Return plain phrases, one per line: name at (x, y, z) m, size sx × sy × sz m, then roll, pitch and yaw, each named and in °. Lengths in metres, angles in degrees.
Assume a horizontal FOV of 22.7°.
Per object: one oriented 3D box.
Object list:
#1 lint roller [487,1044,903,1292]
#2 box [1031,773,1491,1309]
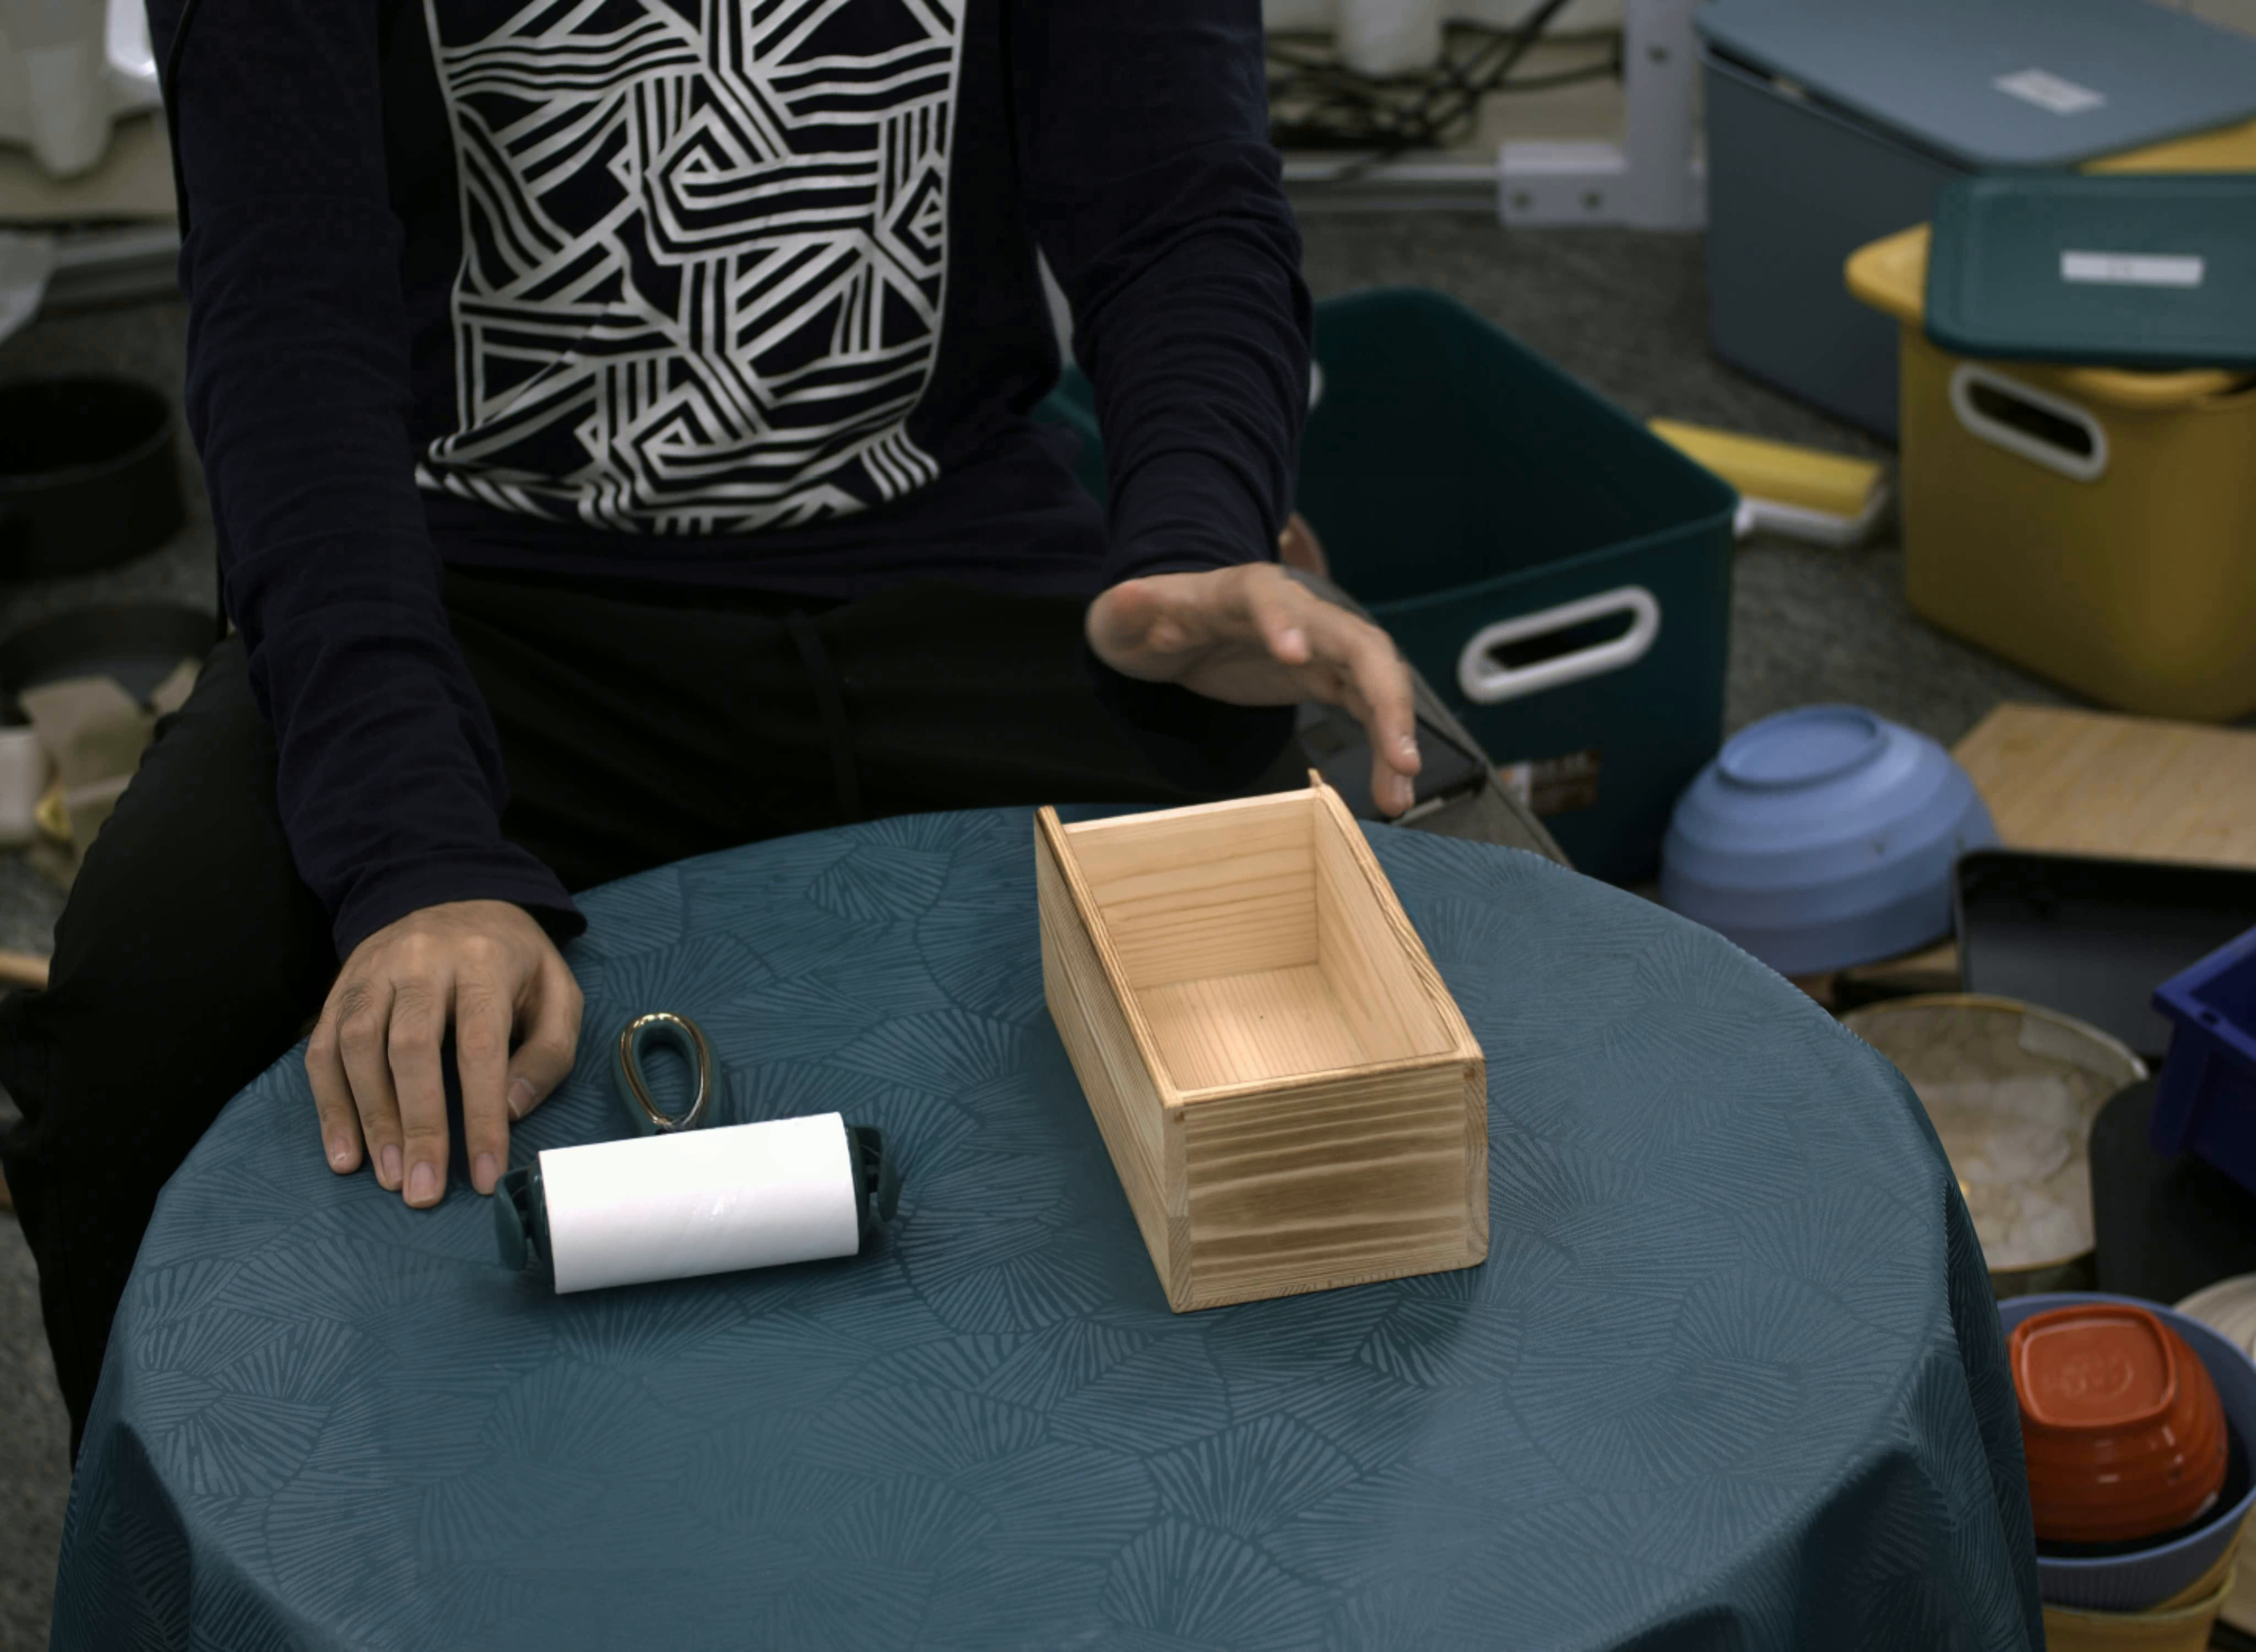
lint roller at (-0.153, 0.096, 1.883) m, size 0.134 × 0.048 × 0.182 m, roll -7°, pitch 25°, yaw -9°
box at (0.042, 0.068, 1.875) m, size 0.107 × 0.079 × 0.213 m, roll -9°, pitch 26°, yaw -10°
